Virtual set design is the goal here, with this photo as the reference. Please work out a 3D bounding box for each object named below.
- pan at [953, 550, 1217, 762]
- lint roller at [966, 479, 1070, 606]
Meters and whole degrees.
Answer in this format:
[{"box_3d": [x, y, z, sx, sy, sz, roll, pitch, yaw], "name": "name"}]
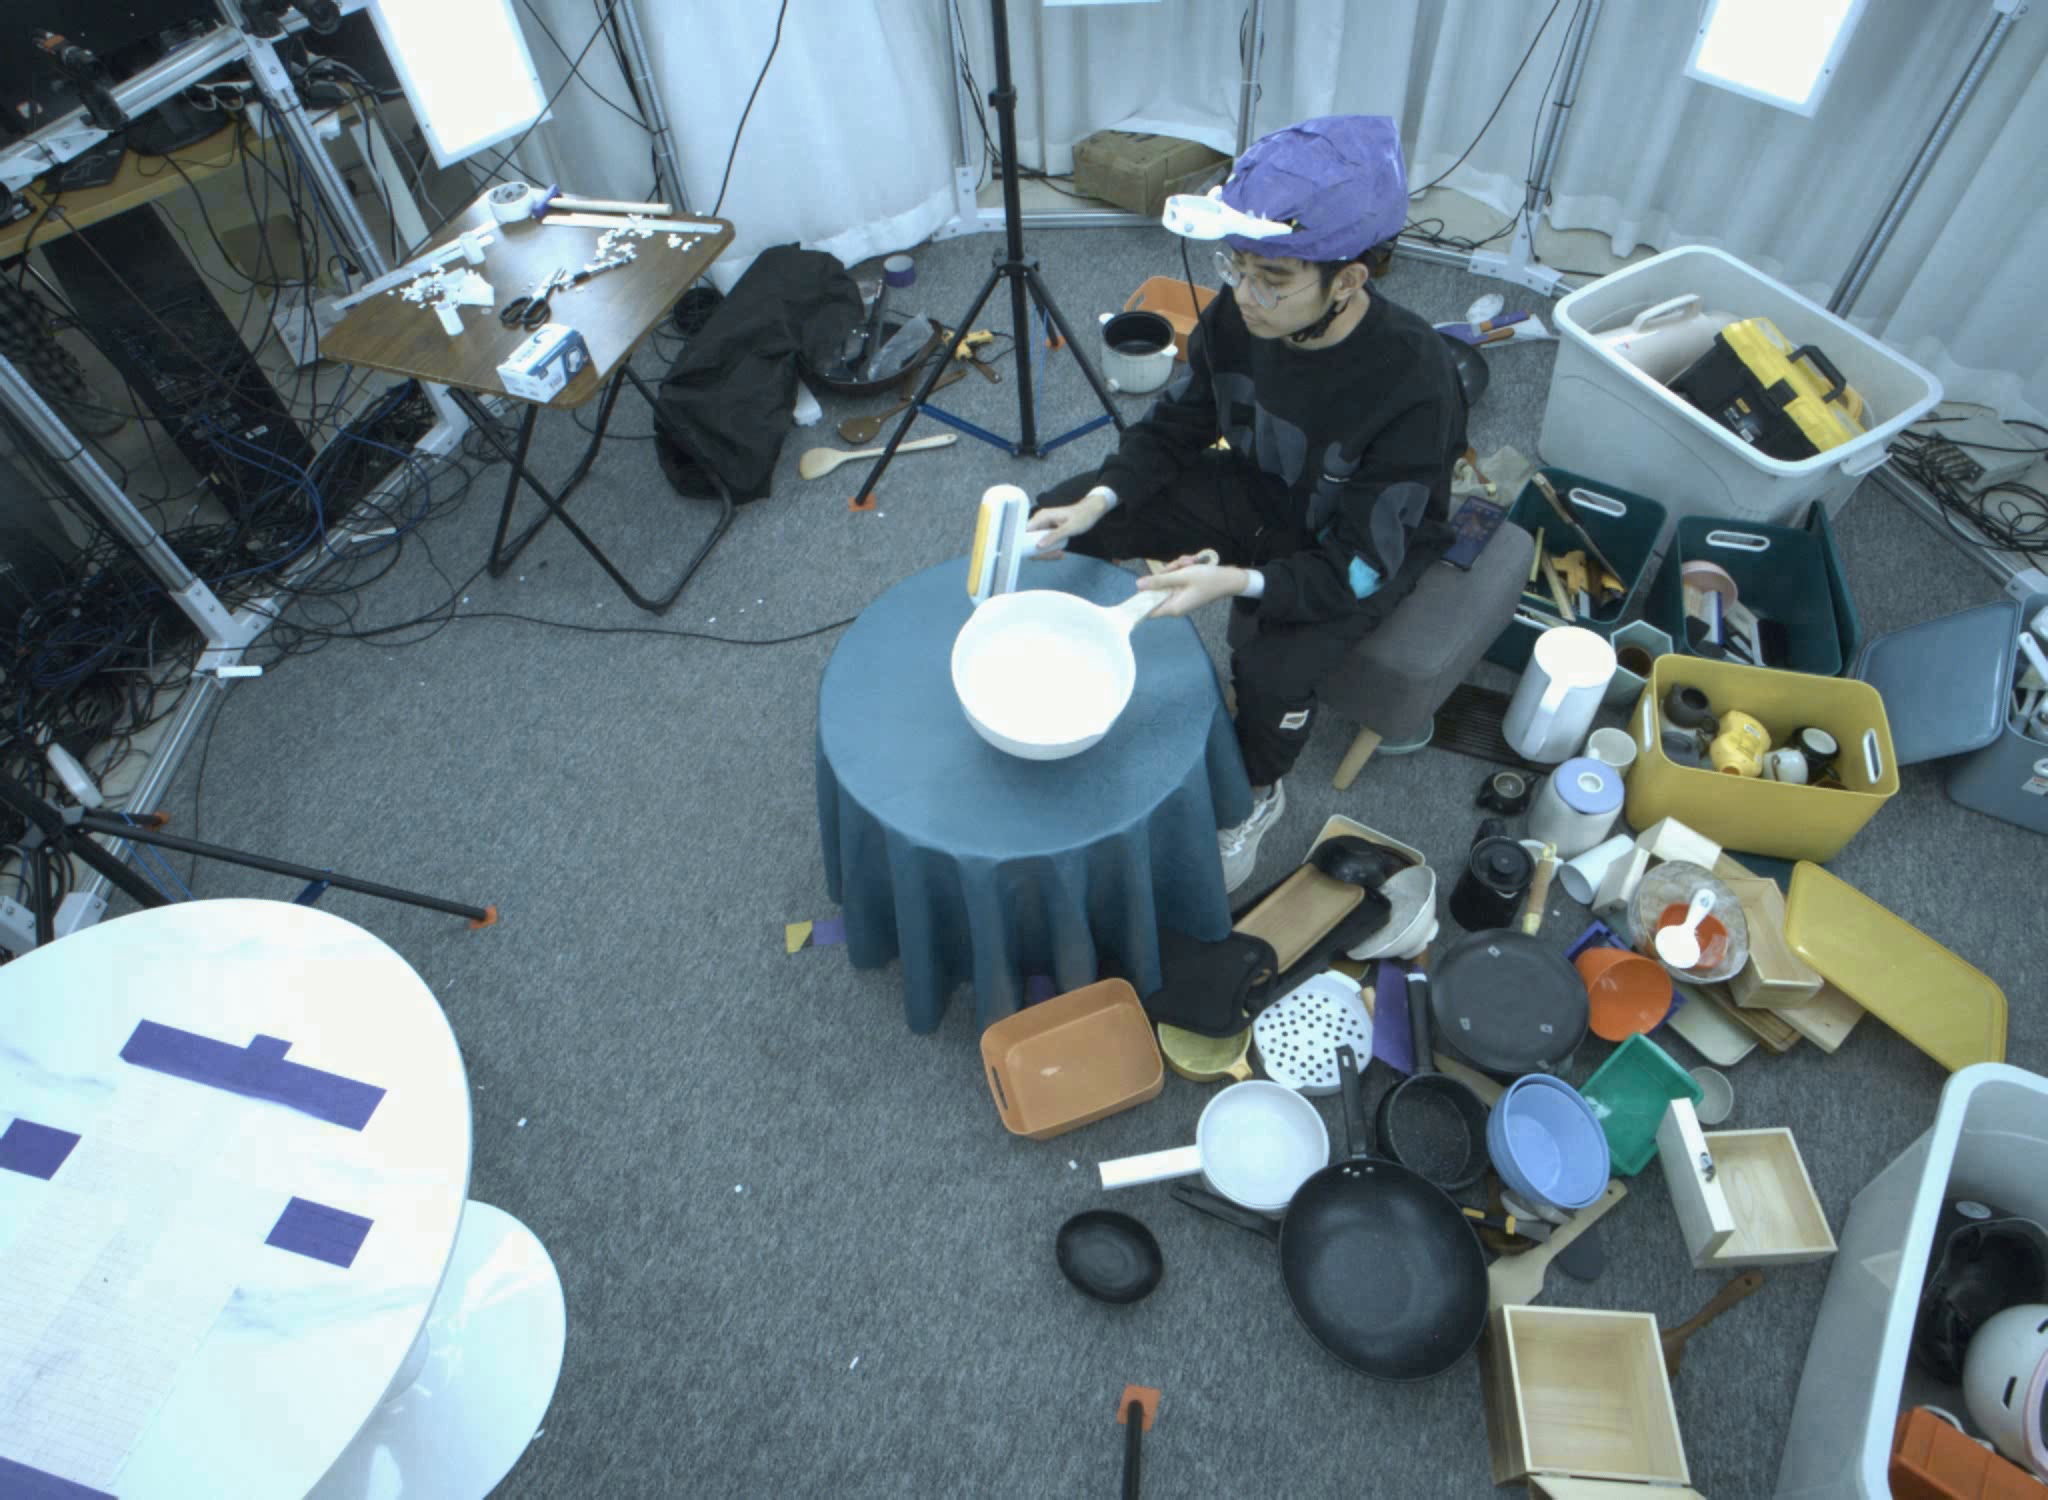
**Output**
[{"box_3d": [0.101, -0.145, 1.730, 0.438, 0.102, 0.259, -33, 67, -20], "name": "pan"}, {"box_3d": [0.002, -0.315, 1.855, 0.196, 0.193, 0.072, -7, 26, -37], "name": "lint roller"}]
